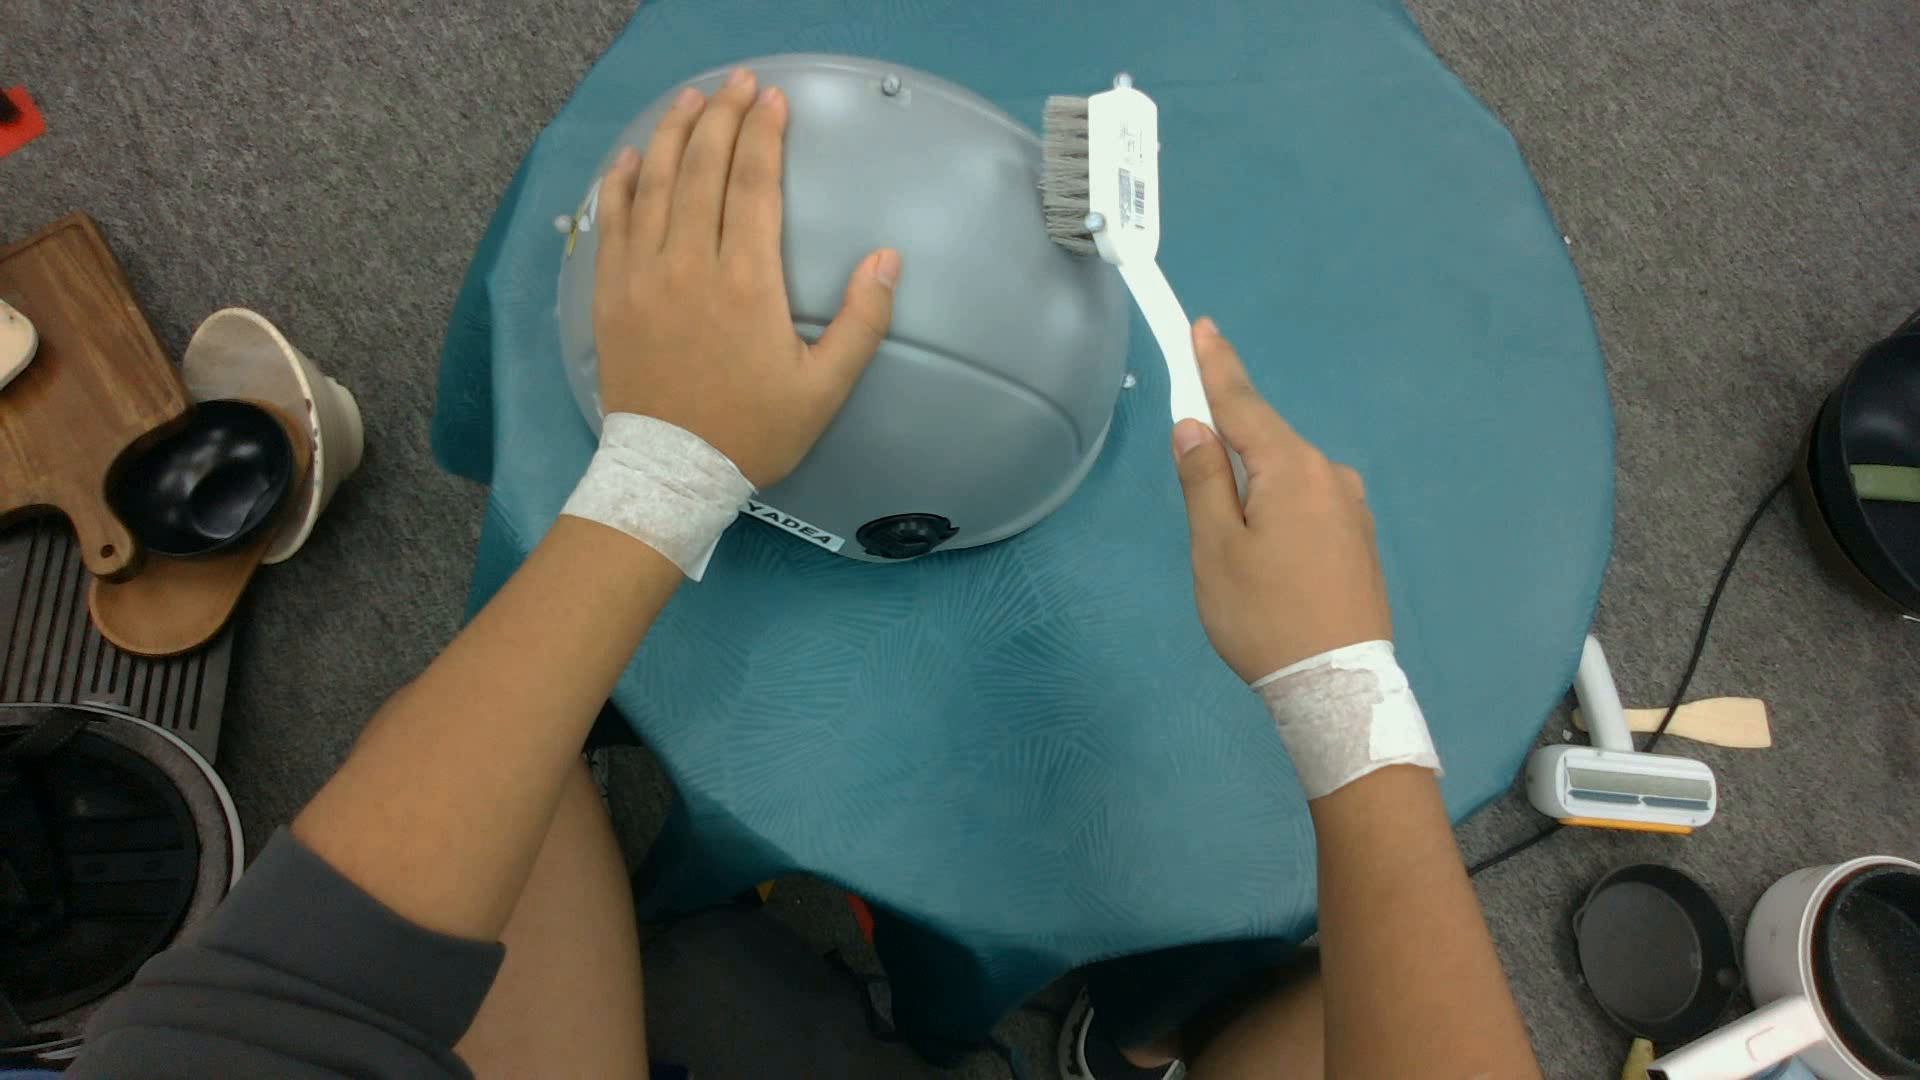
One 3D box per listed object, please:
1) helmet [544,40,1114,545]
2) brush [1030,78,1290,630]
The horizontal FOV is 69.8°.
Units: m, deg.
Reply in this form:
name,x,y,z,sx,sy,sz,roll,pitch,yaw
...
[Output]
name,x,y,z,sx,sy,sz,roll,pitch,yaw
helmet,-0.046,-0.125,0.621,0.276,0.168,0.232,8,73,-11
brush,0.076,-0.076,0.561,0.034,0.050,0.244,-6,77,-48
